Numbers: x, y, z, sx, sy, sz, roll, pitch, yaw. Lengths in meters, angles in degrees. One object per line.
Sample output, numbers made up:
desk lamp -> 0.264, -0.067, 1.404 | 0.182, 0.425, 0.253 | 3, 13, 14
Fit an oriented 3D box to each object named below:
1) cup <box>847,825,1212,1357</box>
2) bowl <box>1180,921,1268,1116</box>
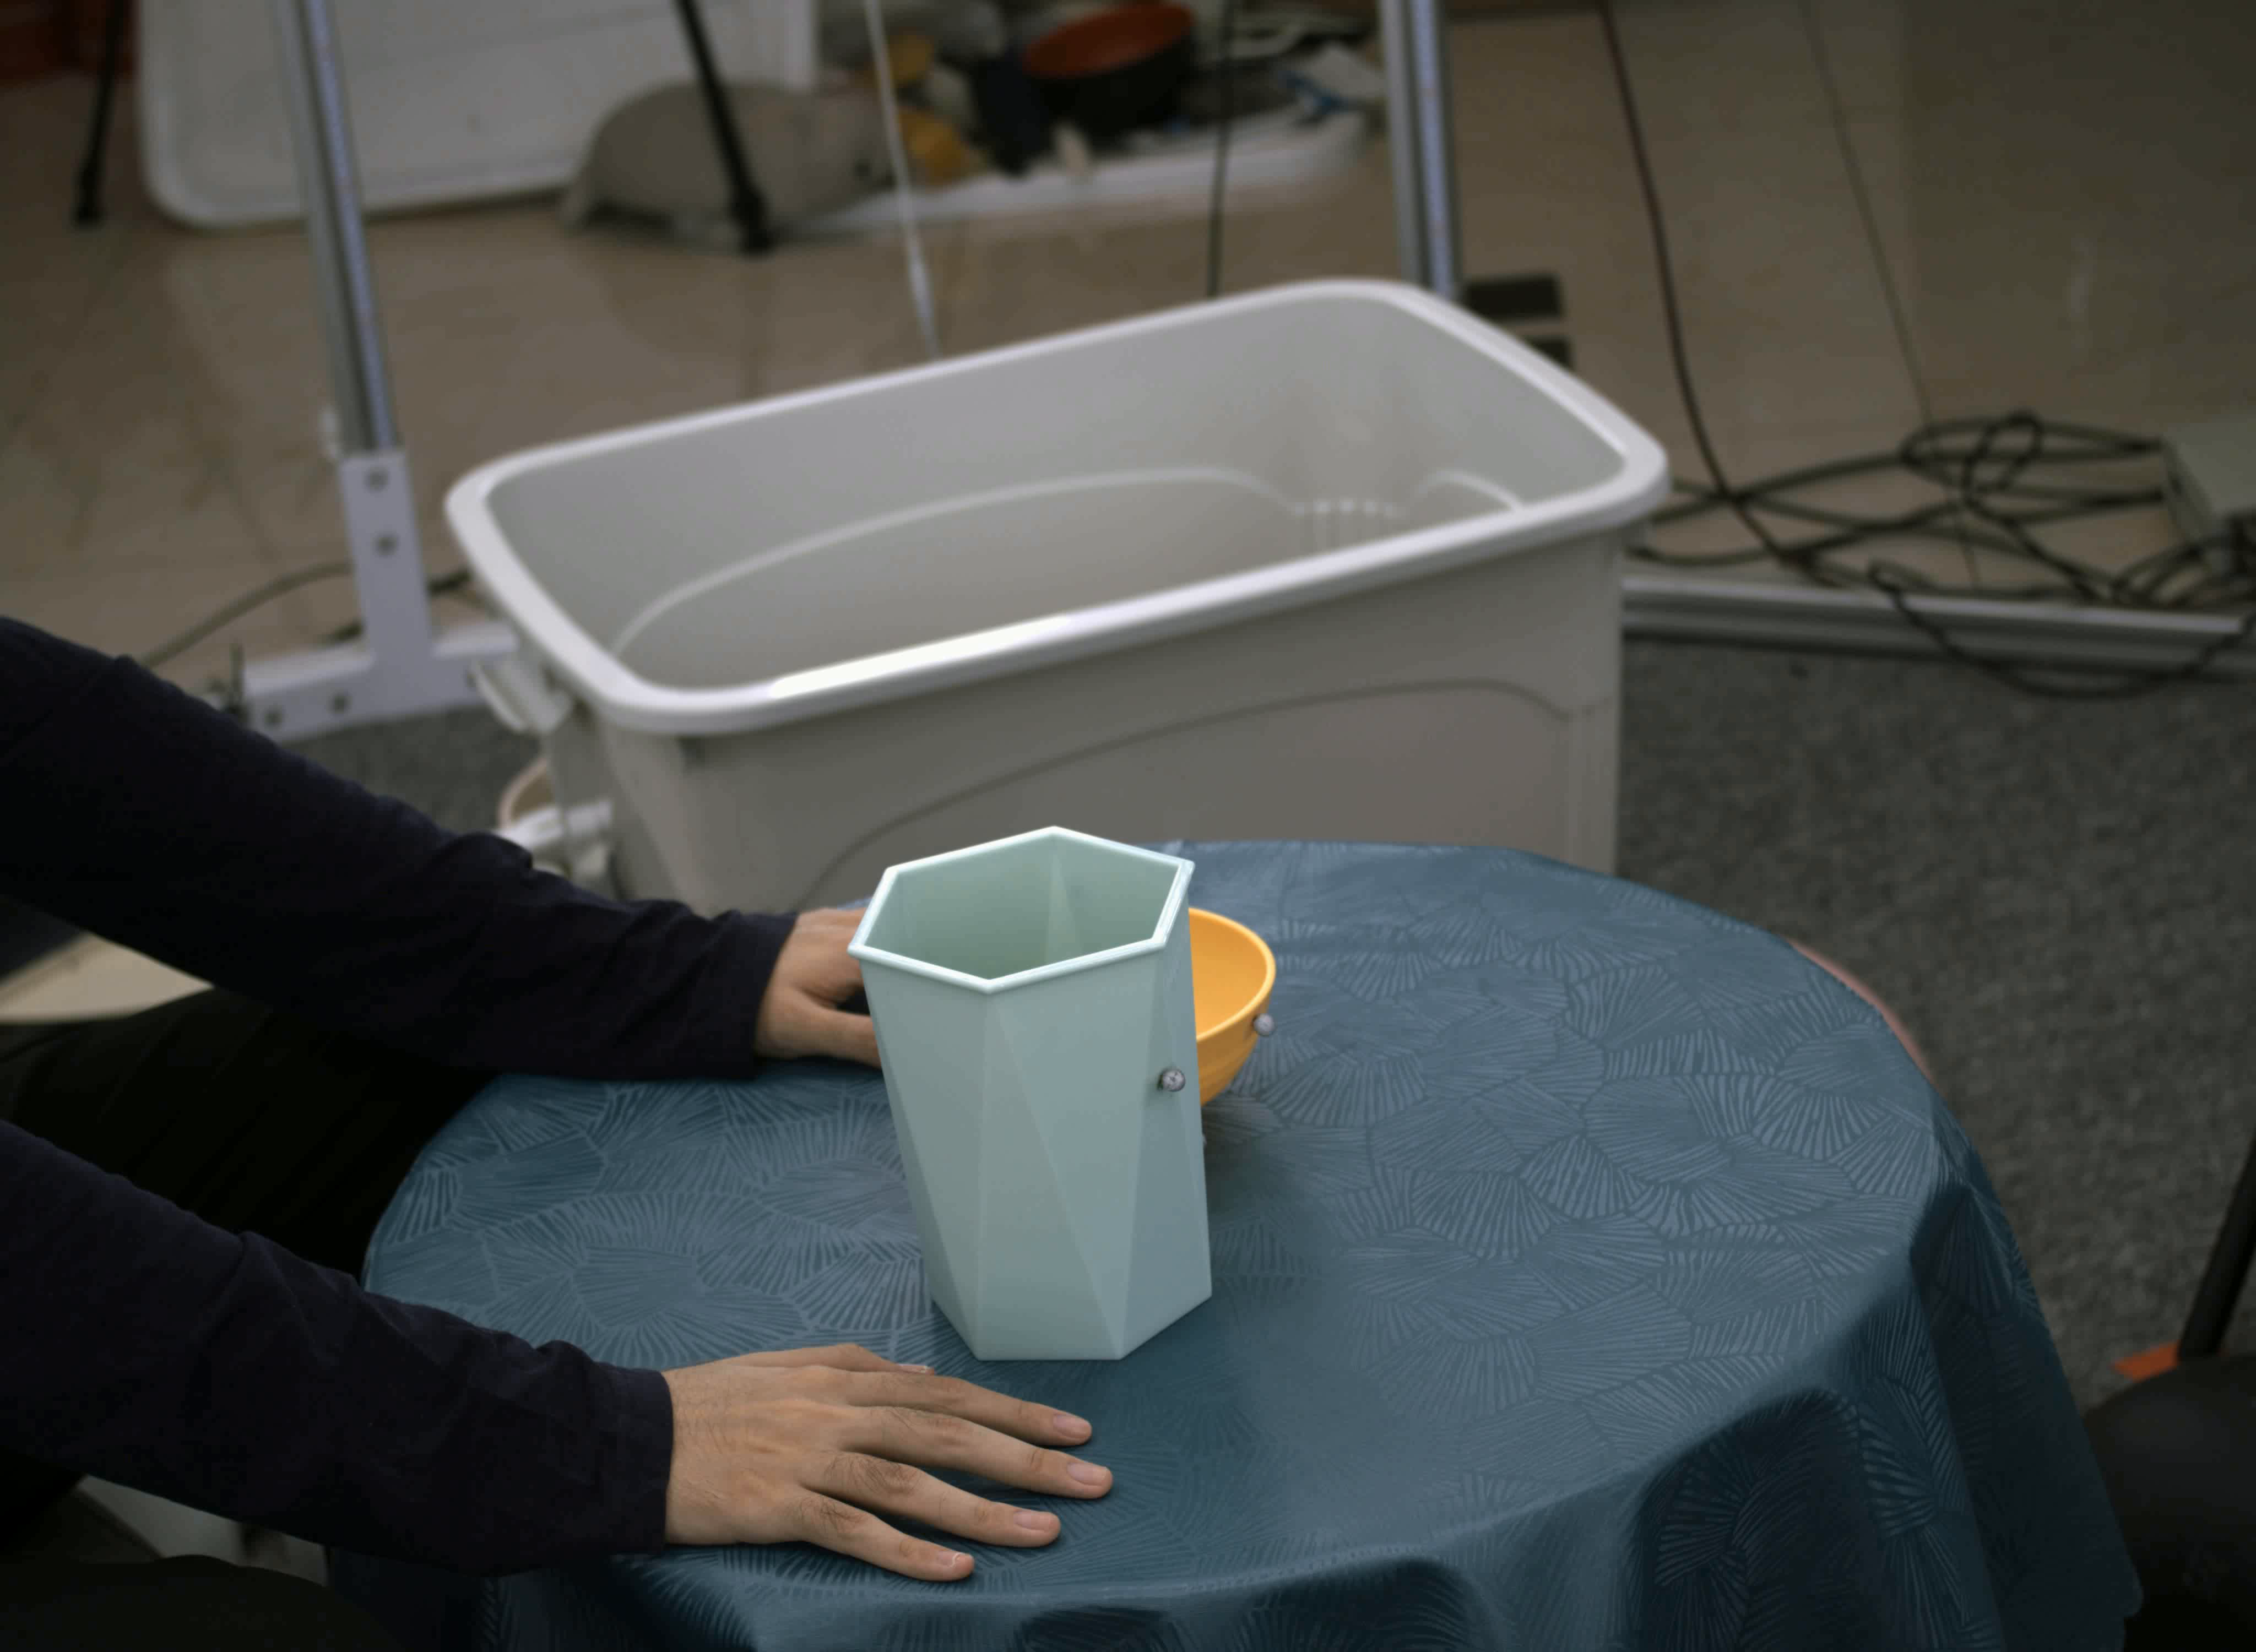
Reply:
cup -> -0.029, 0.098, 2.044 | 0.115, 0.165, 0.129 | -3, 25, 11
bowl -> -0.014, 0.090, 2.194 | 0.145, 0.061, 0.143 | -7, 23, 3
